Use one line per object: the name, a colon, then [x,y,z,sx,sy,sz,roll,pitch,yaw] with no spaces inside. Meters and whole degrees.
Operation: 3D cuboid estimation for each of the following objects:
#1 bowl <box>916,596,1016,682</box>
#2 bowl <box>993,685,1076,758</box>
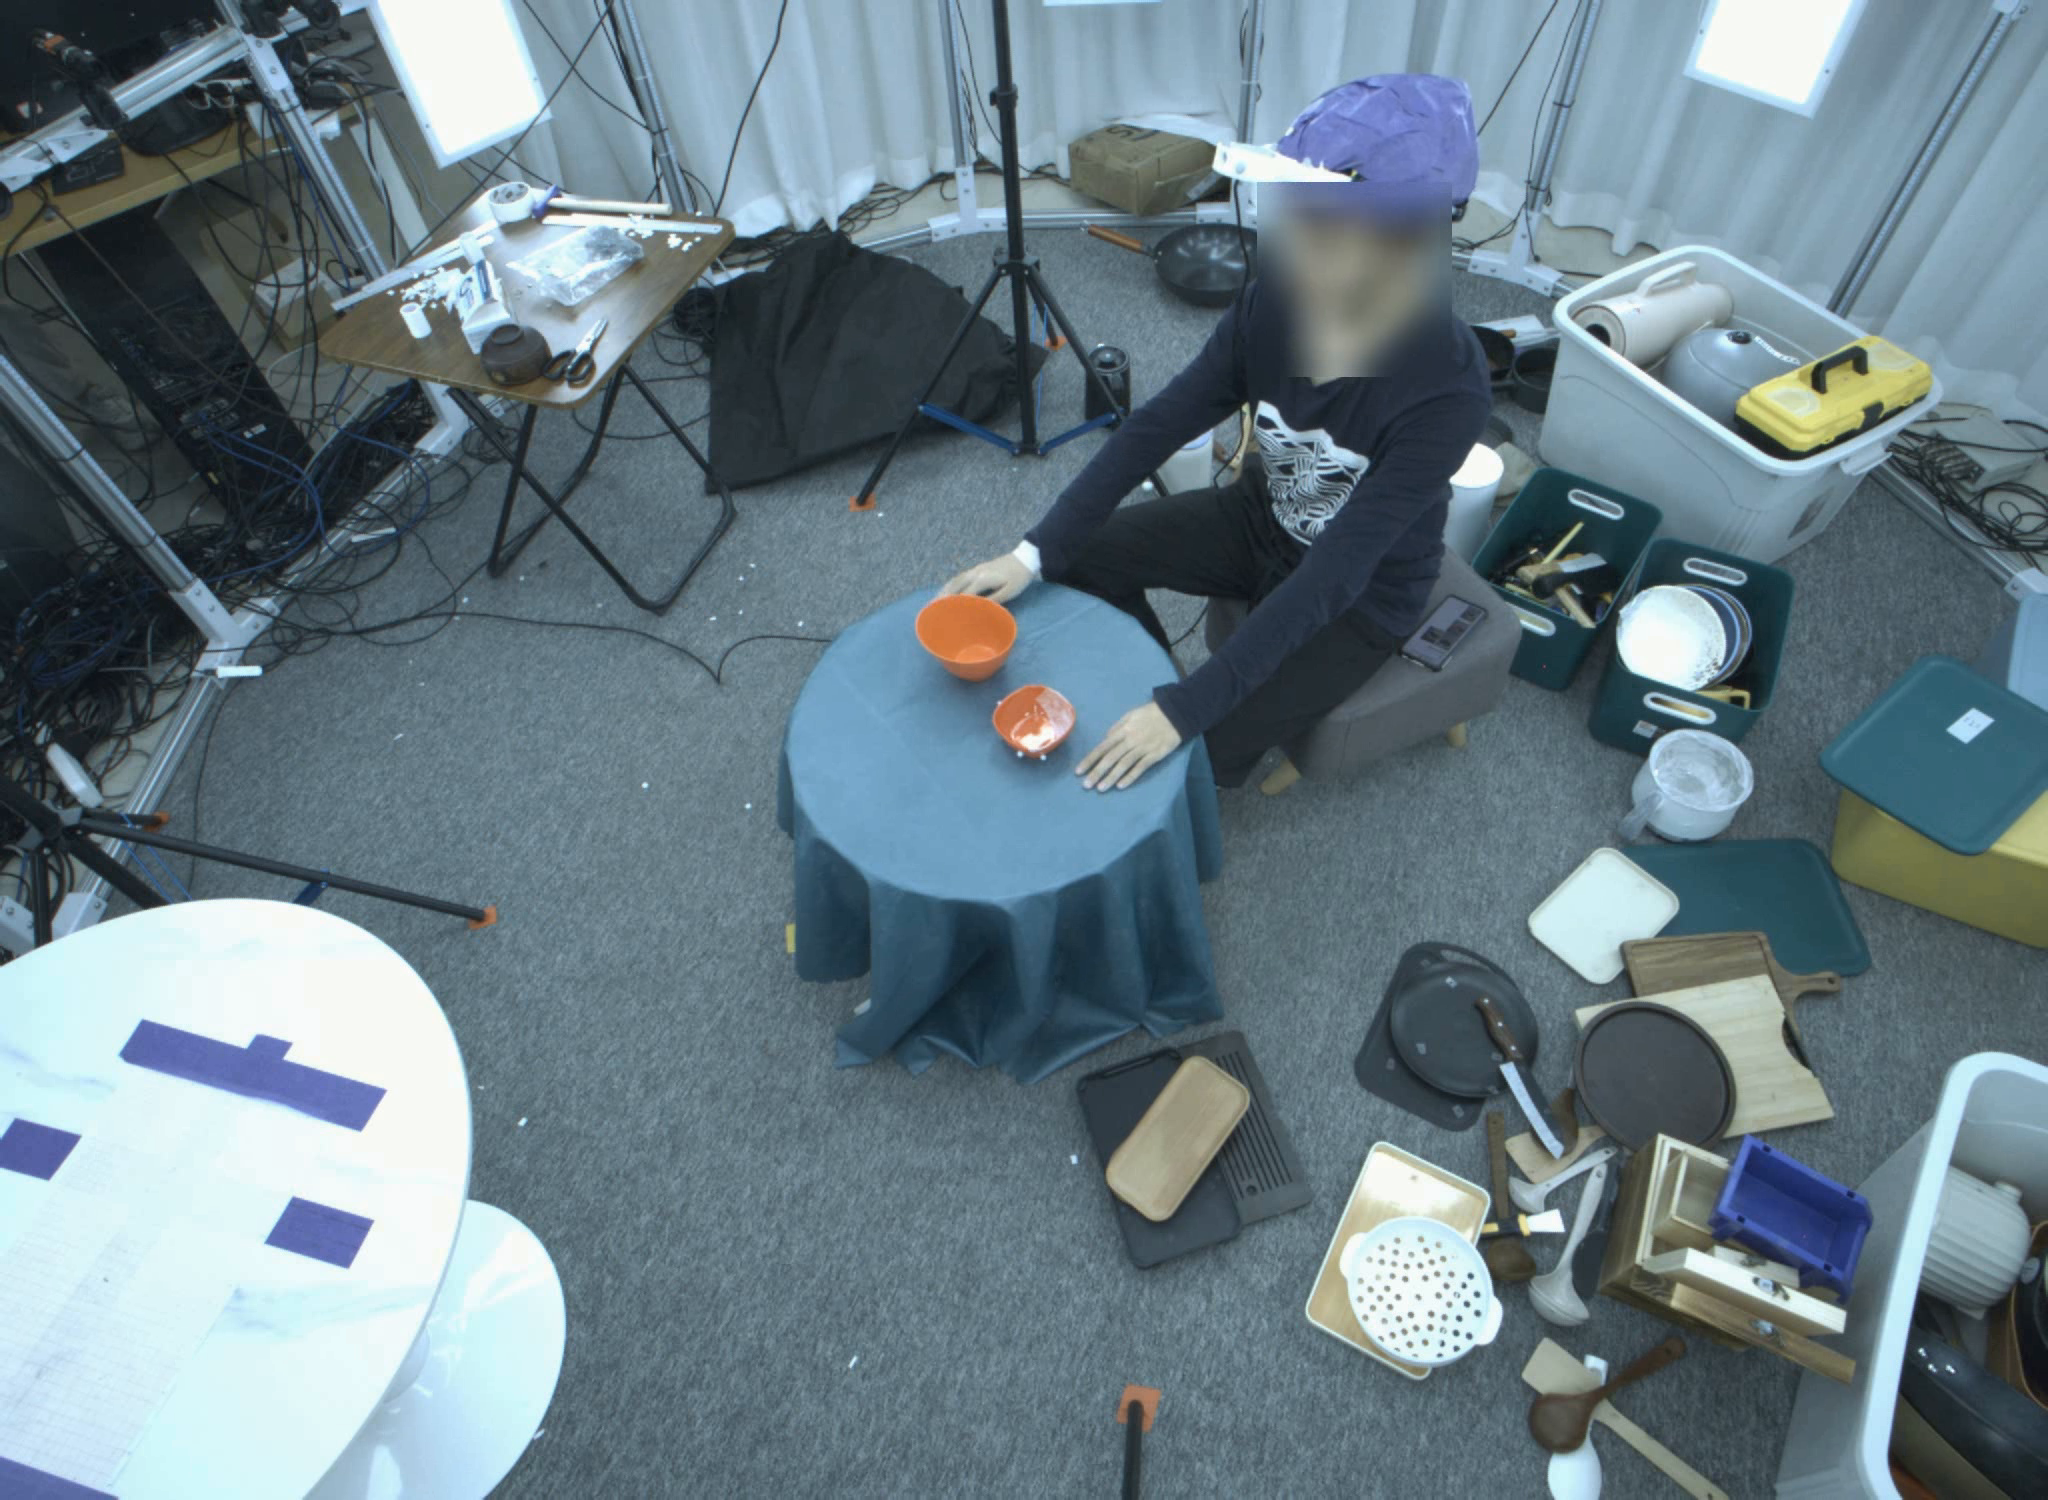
bowl: [-0.086,-0.155,1.849,0.148,0.105,0.146,1,54,0]
bowl: [0.016,-0.034,1.789,0.119,0.052,0.117,0,52,2]
